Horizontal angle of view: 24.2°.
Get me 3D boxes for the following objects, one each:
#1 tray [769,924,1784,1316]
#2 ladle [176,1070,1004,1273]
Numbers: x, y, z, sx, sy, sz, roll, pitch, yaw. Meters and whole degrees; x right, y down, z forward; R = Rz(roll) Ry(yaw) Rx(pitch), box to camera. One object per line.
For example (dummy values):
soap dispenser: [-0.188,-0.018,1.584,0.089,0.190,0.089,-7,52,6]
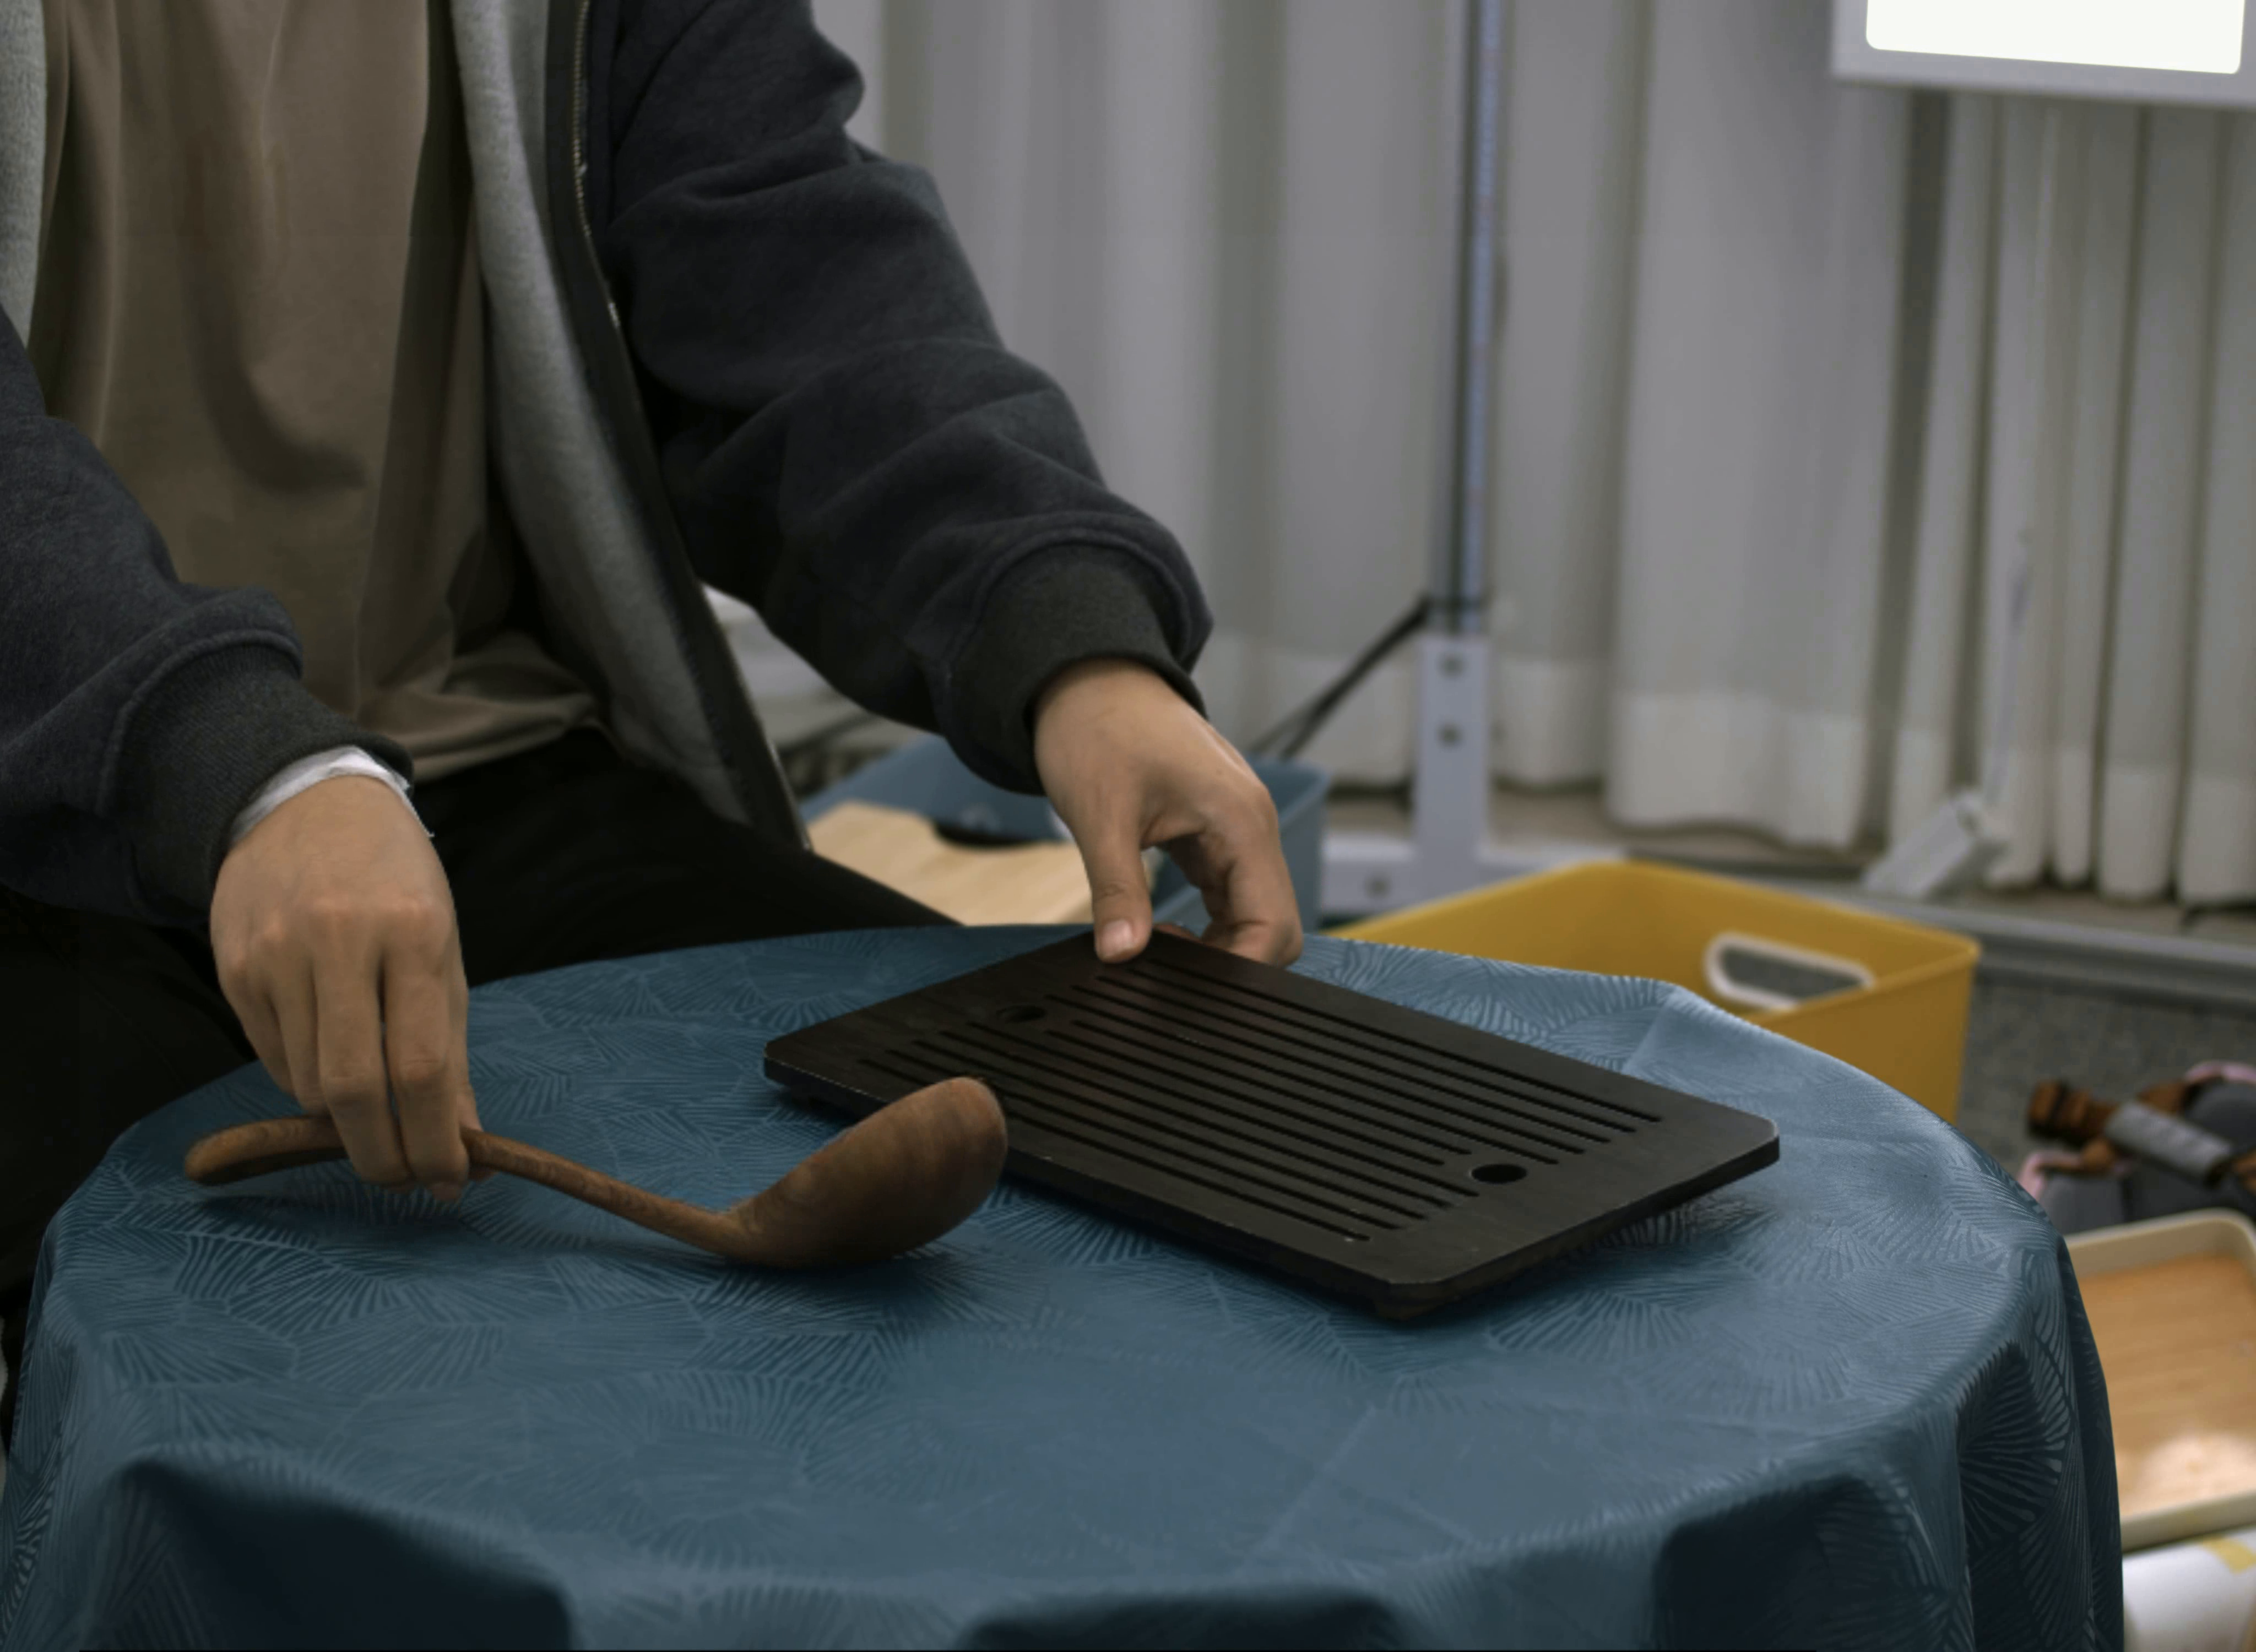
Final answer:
tray: [0.042,0.089,1.660,0.171,0.019,0.302,-17,23,-40]
ladle: [-0.162,0.092,1.568,0.258,0.065,0.077,6,-12,18]
